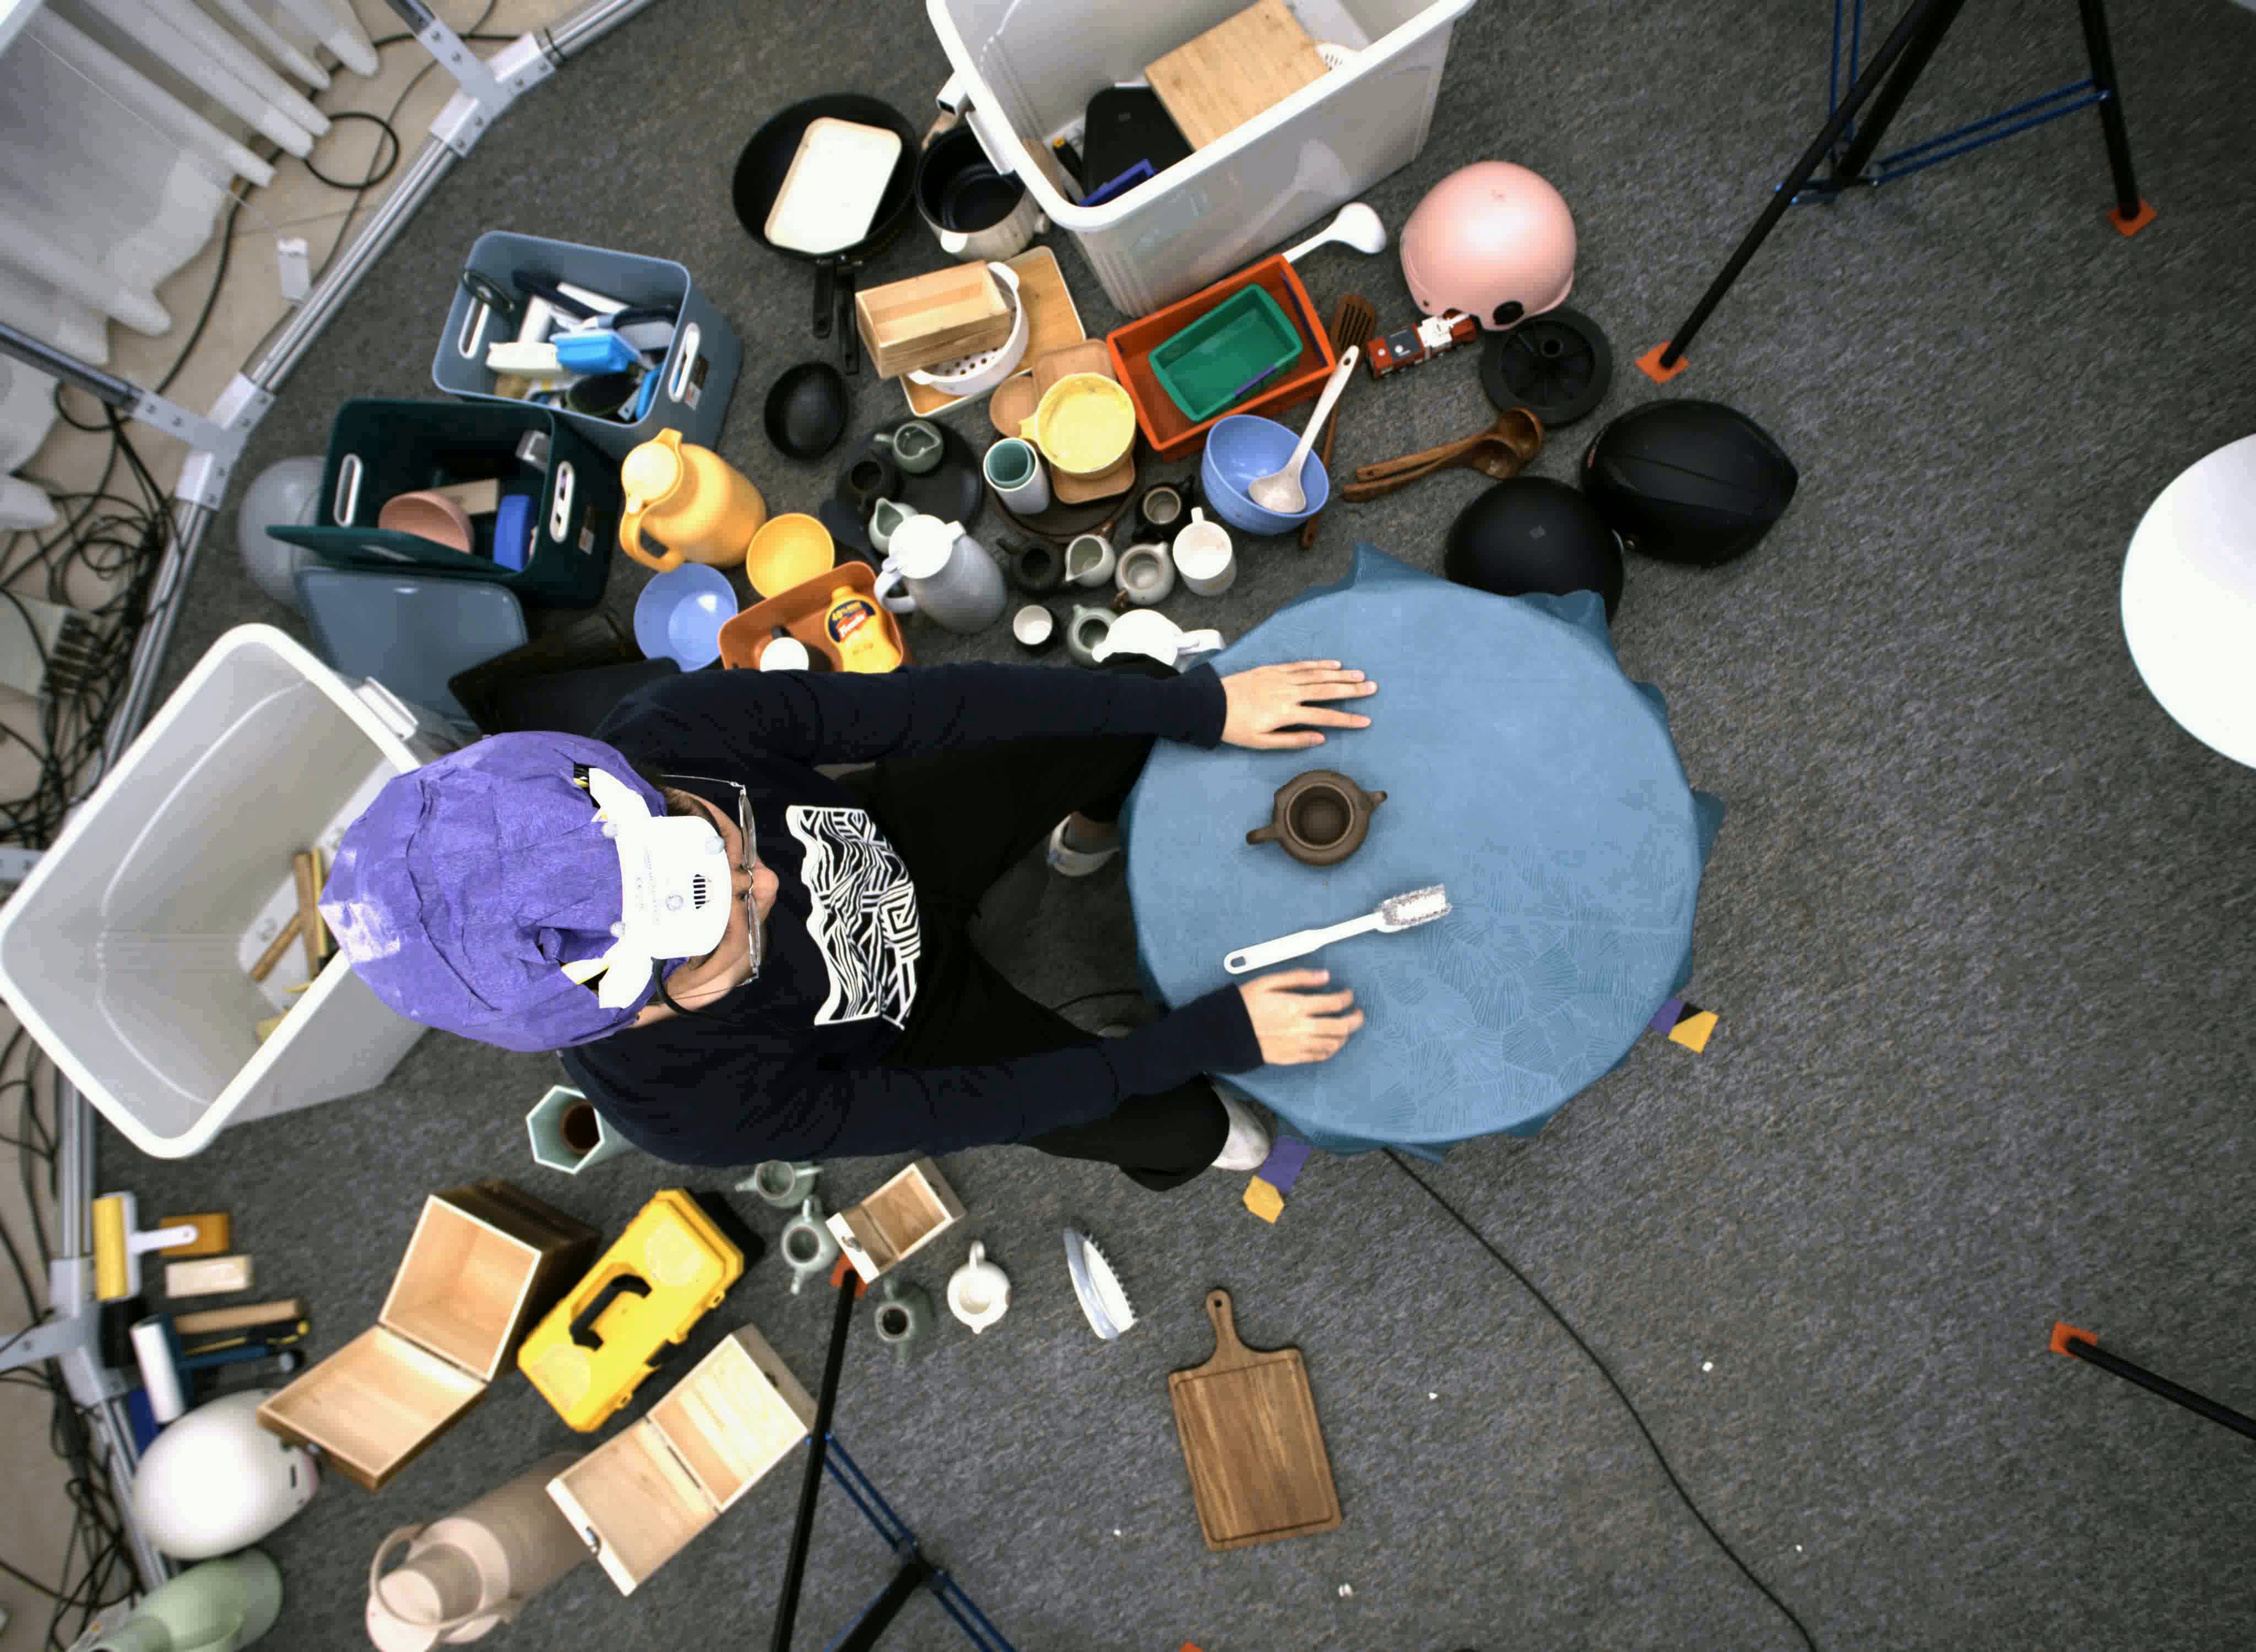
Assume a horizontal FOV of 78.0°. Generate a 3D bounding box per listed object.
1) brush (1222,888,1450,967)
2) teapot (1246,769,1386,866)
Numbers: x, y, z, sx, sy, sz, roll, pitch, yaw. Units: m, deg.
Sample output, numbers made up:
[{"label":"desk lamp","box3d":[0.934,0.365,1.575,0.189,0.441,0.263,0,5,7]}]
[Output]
[{"label":"brush","box3d":[0.214,0.108,1.442,0.245,0.050,0.034,-15,86,9]},{"label":"teapot","box3d":[0.197,-0.008,1.450,0.154,0.054,0.102,-23,83,8]}]
